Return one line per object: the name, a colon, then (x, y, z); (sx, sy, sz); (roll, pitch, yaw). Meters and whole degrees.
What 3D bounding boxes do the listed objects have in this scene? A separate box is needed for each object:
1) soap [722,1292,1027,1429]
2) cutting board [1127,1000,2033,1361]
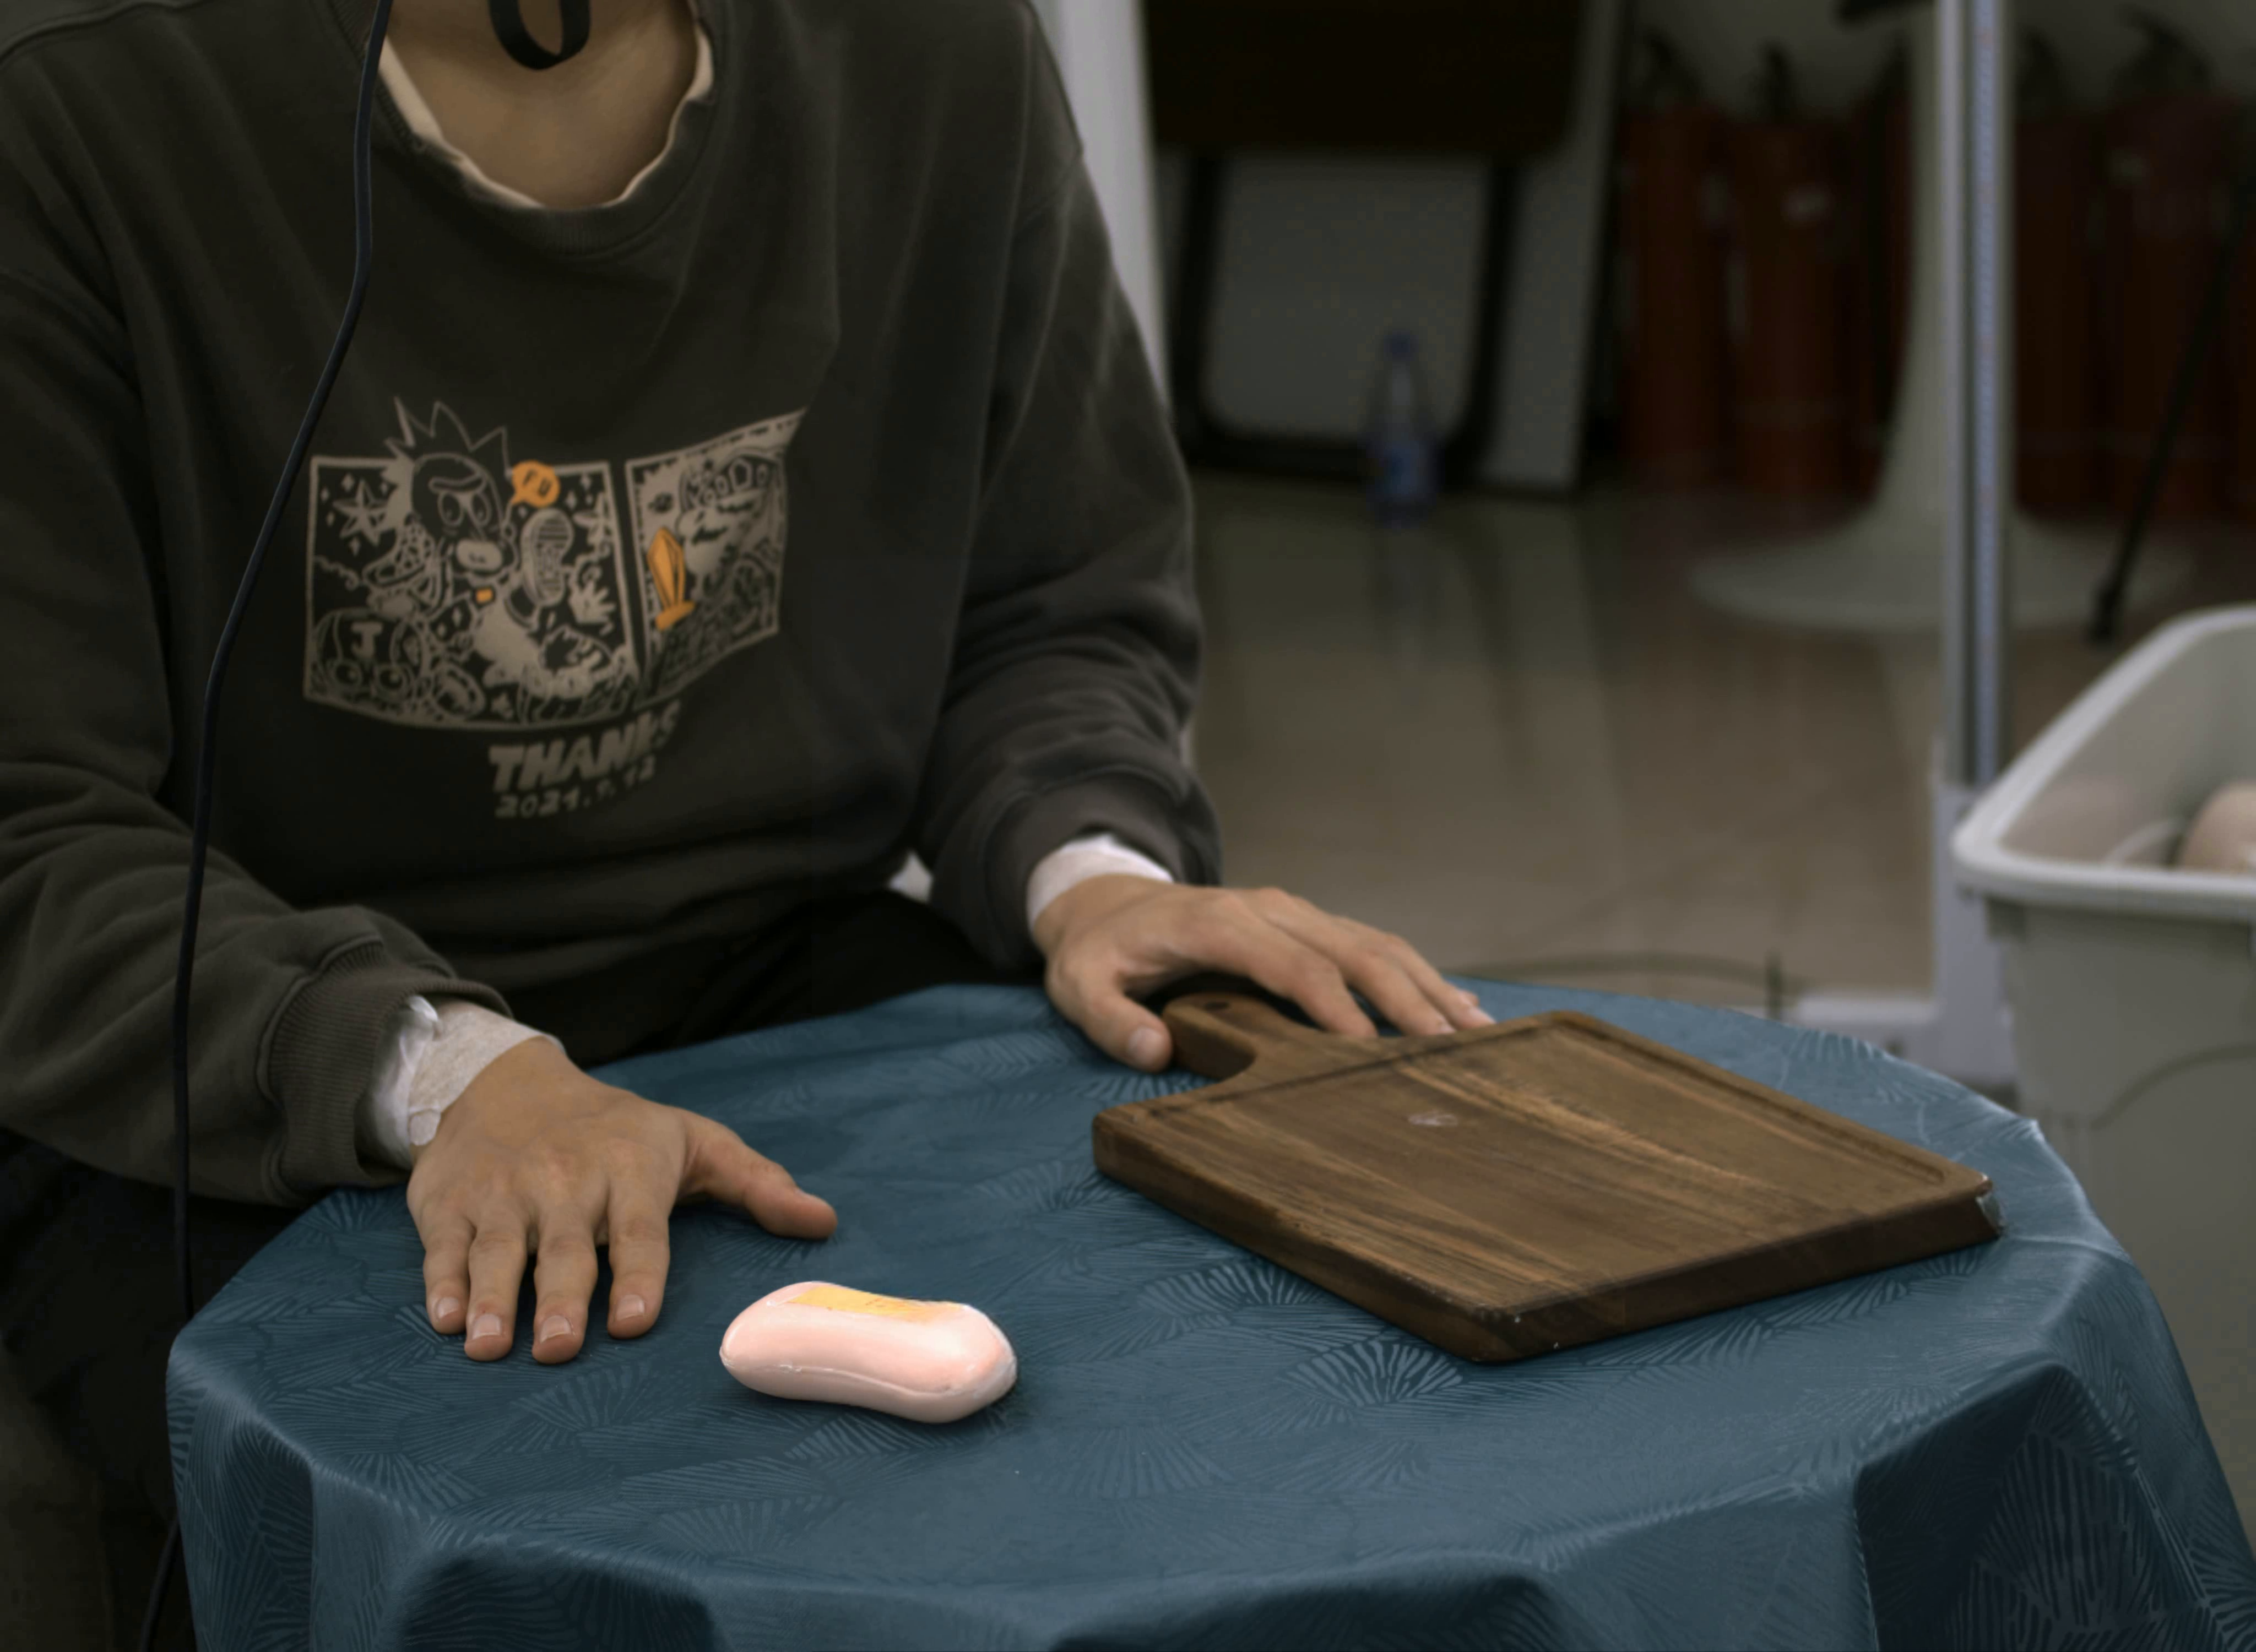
soap: (-0.075, 0.157, 1.592); (0.095, 0.031, 0.049); (3, 14, 35)
cutting board: (0.118, 0.103, 1.774); (0.197, 0.023, 0.356); (-11, 15, -25)
